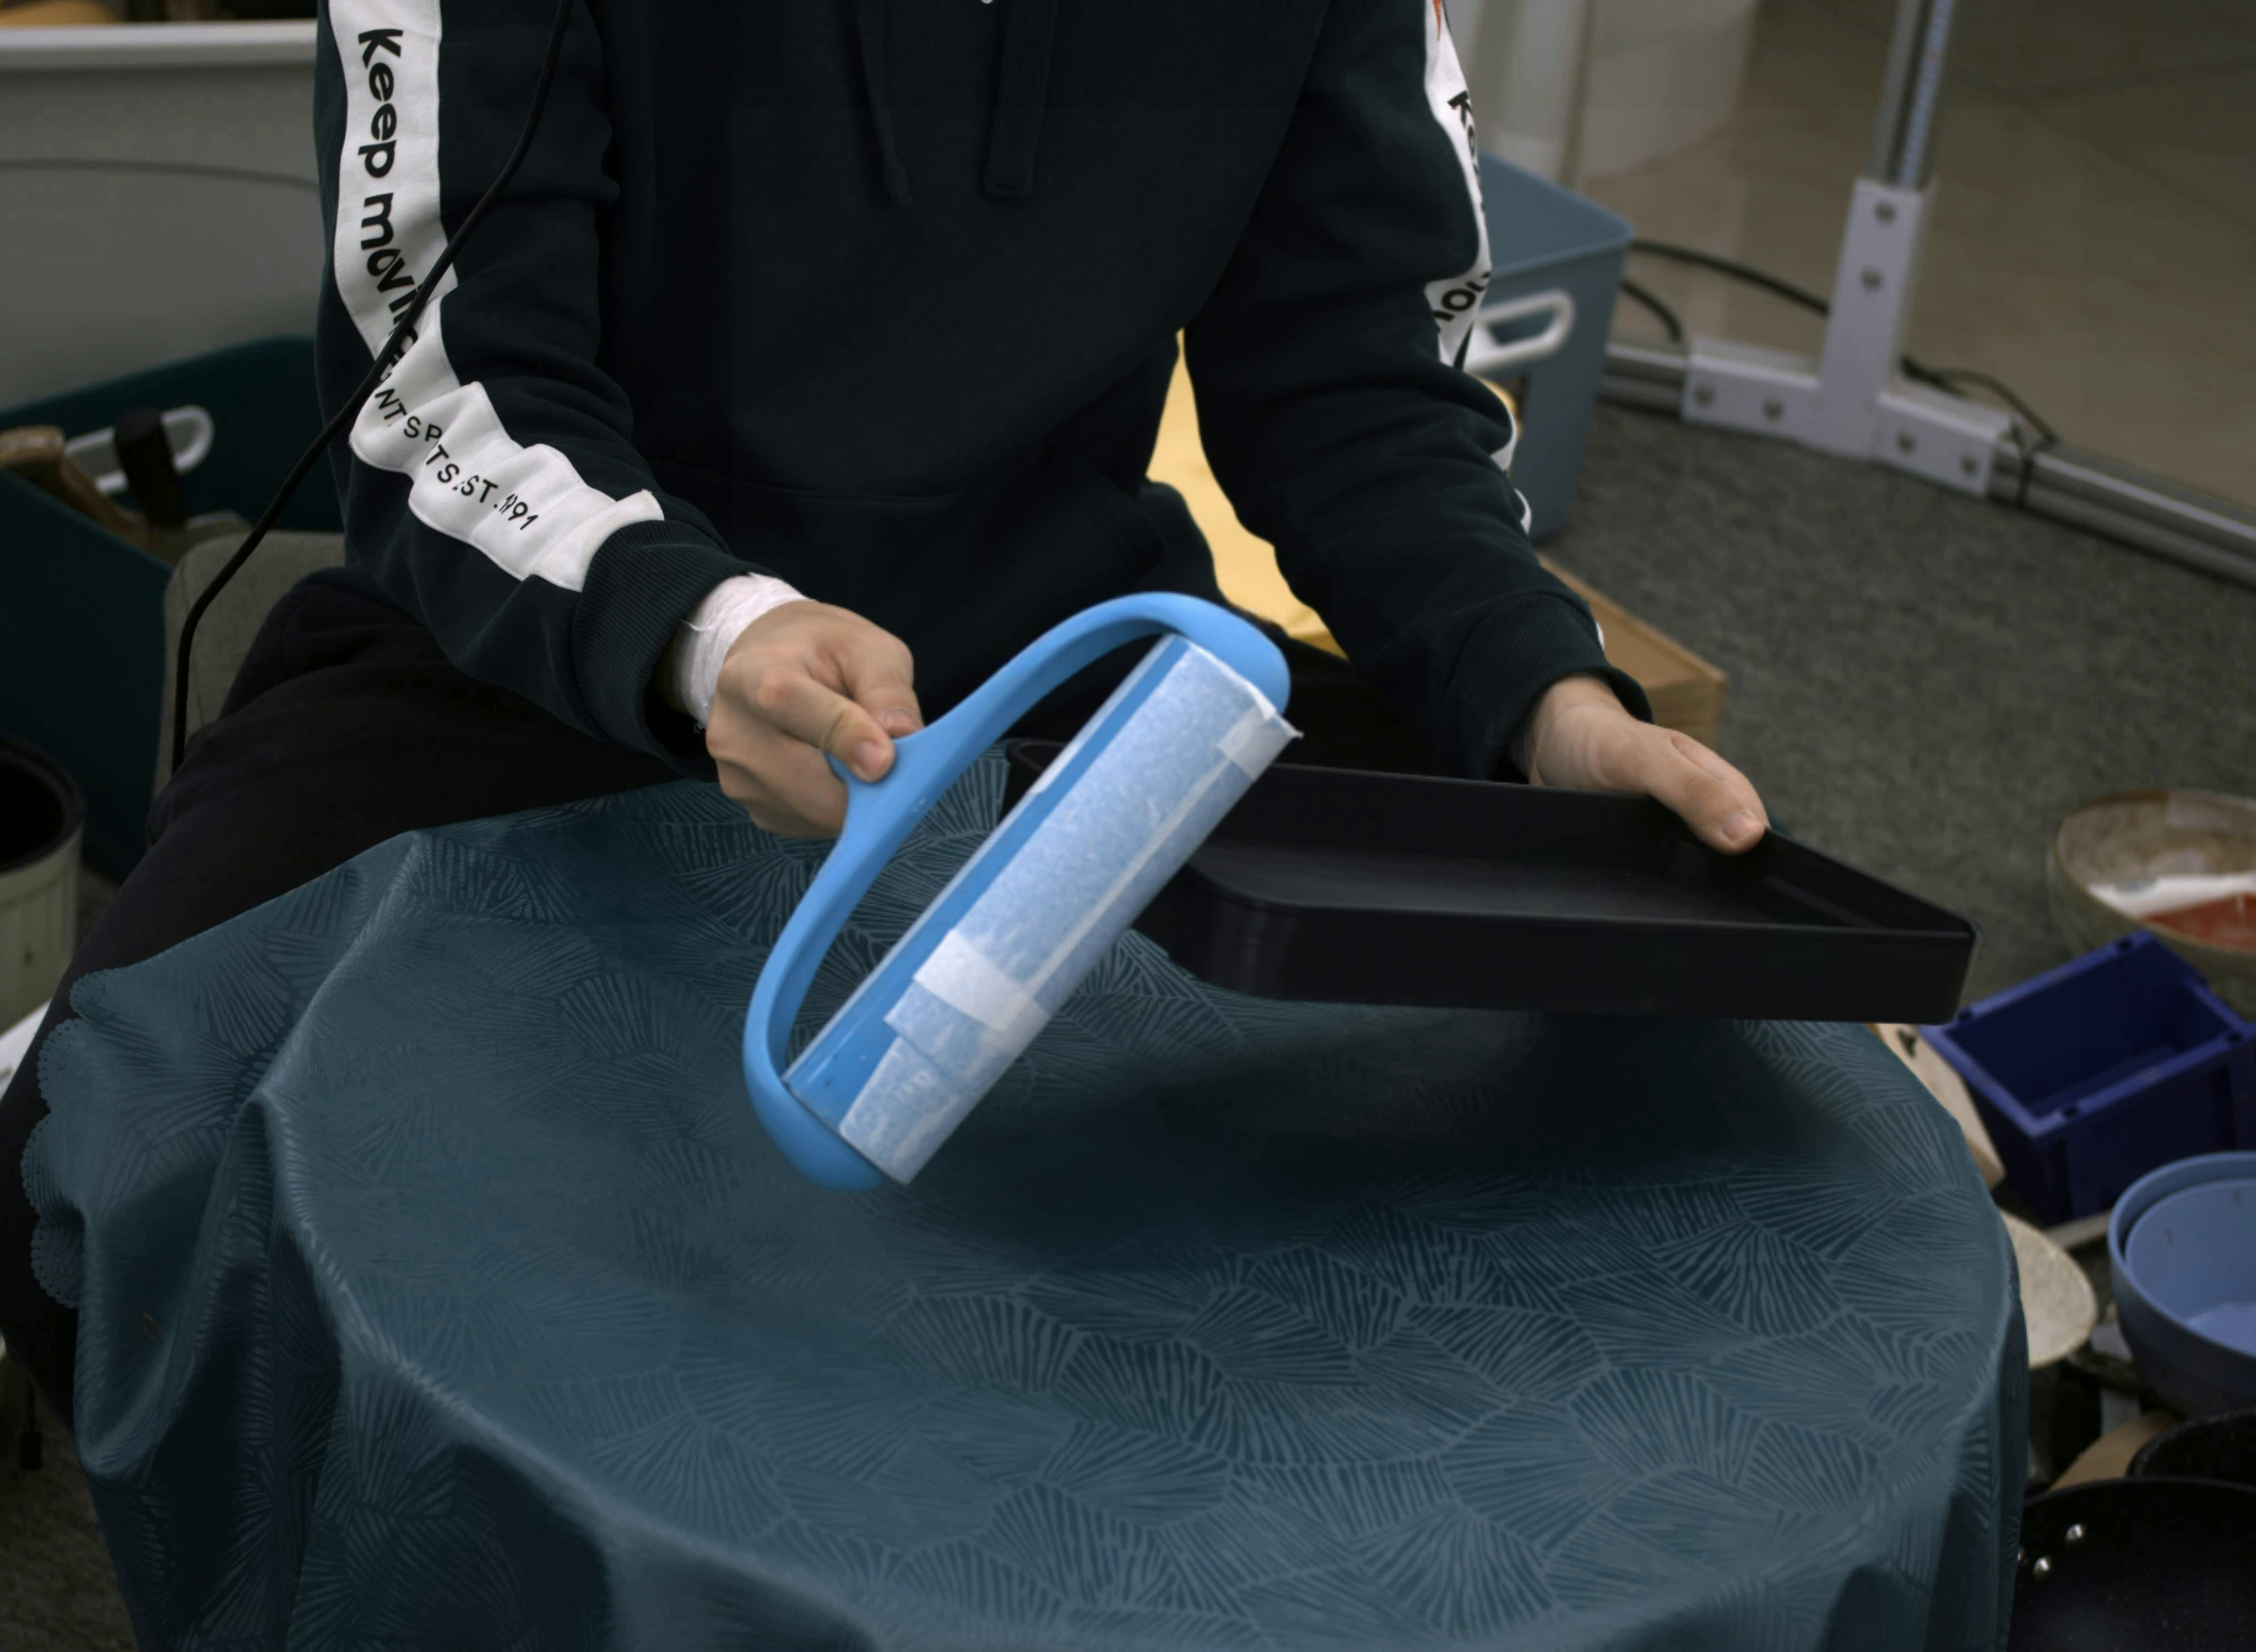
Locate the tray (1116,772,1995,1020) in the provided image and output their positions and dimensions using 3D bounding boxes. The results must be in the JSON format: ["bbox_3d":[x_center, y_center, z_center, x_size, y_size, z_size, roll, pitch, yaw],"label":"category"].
[{"bbox_3d":[0.128,0.023,1.840,0.315,0.037,0.186,2,14,-32],"label":"tray"}]

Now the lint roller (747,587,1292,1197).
[{"bbox_3d":[-0.064,0.000,1.741,0.182,0.229,0.067,34,-5,45],"label":"lint roller"}]
